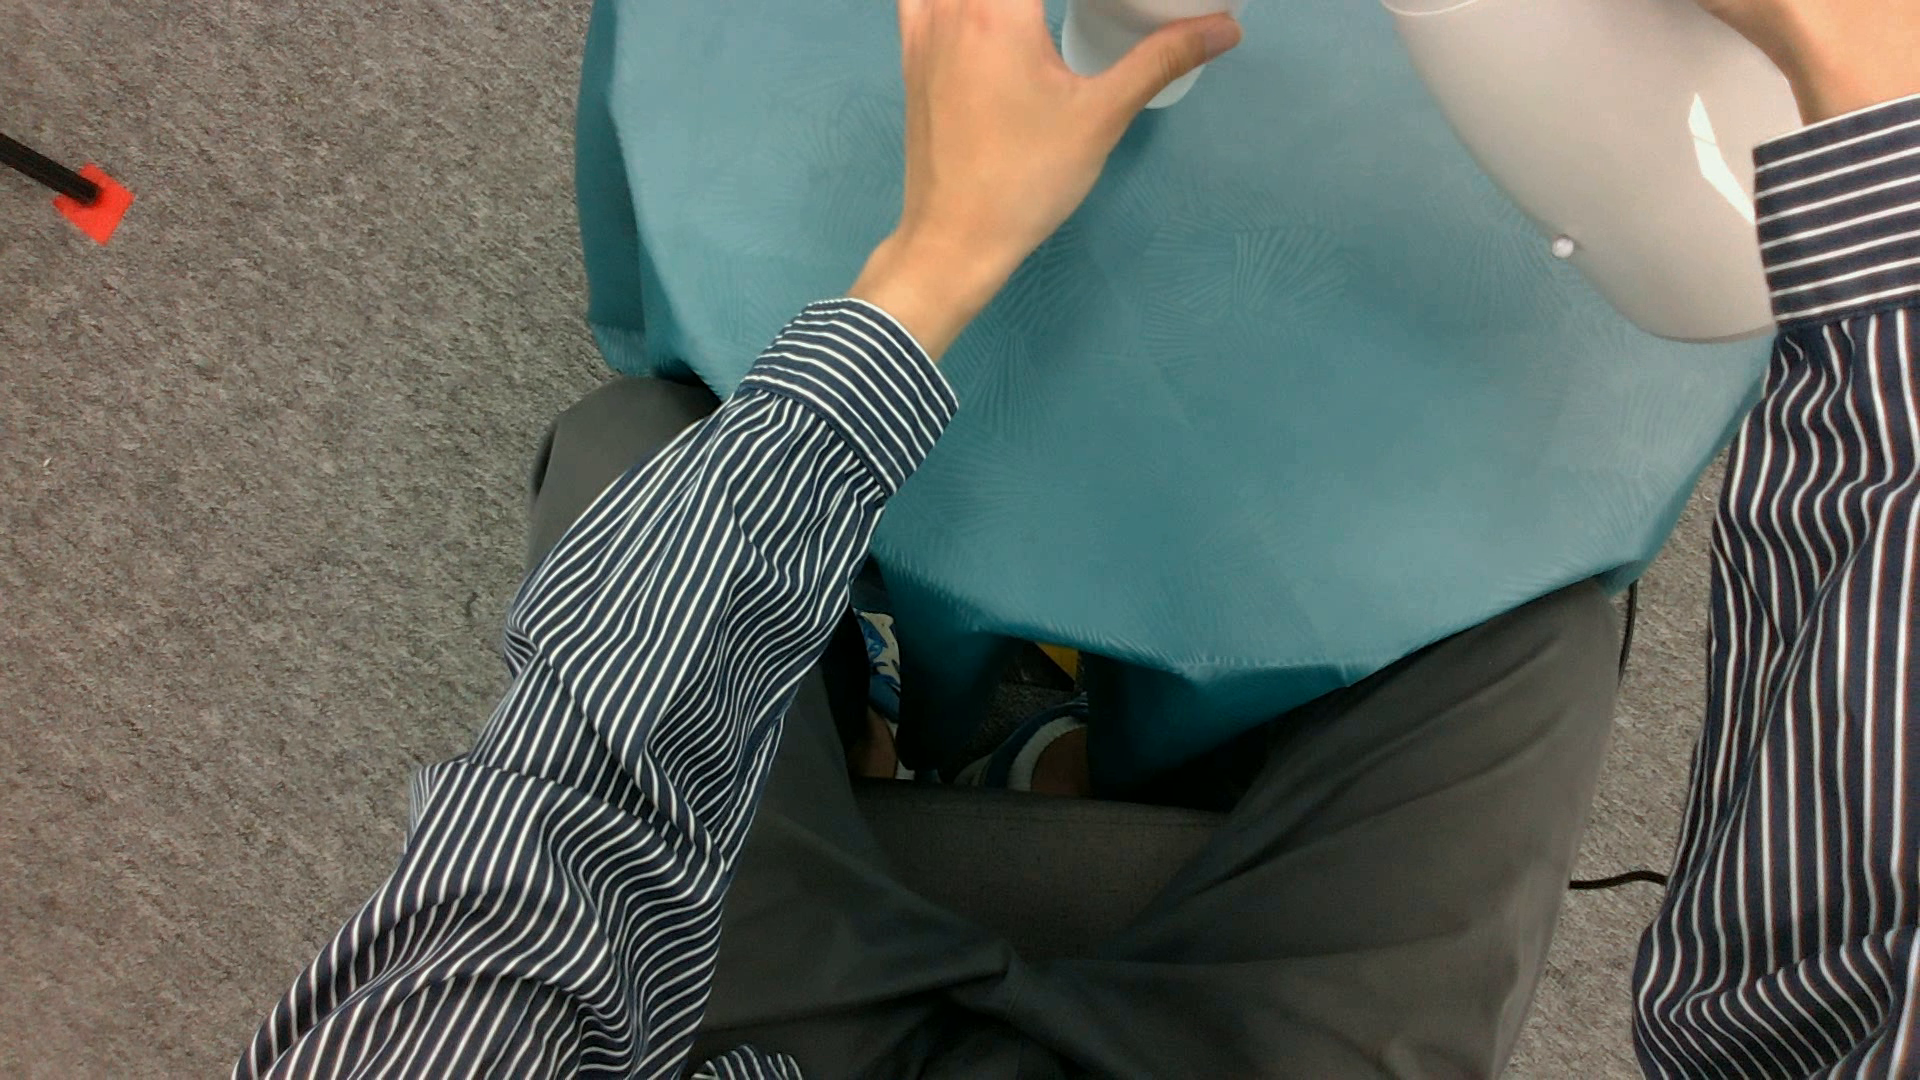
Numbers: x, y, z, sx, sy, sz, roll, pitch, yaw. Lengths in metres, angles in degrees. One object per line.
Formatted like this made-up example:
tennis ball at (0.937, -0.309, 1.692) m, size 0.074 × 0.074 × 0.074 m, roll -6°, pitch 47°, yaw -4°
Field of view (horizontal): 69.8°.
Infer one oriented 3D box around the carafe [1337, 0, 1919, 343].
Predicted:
carafe at (0.218, -0.187, 0.464) m, size 0.248 × 0.167 × 0.132 m, roll 31°, pitch 84°, yaw -29°

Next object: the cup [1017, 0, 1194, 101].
cup at (0.066, -0.245, 0.585) m, size 0.082 × 0.125 × 0.082 m, roll 0°, pitch 85°, yaw -4°
